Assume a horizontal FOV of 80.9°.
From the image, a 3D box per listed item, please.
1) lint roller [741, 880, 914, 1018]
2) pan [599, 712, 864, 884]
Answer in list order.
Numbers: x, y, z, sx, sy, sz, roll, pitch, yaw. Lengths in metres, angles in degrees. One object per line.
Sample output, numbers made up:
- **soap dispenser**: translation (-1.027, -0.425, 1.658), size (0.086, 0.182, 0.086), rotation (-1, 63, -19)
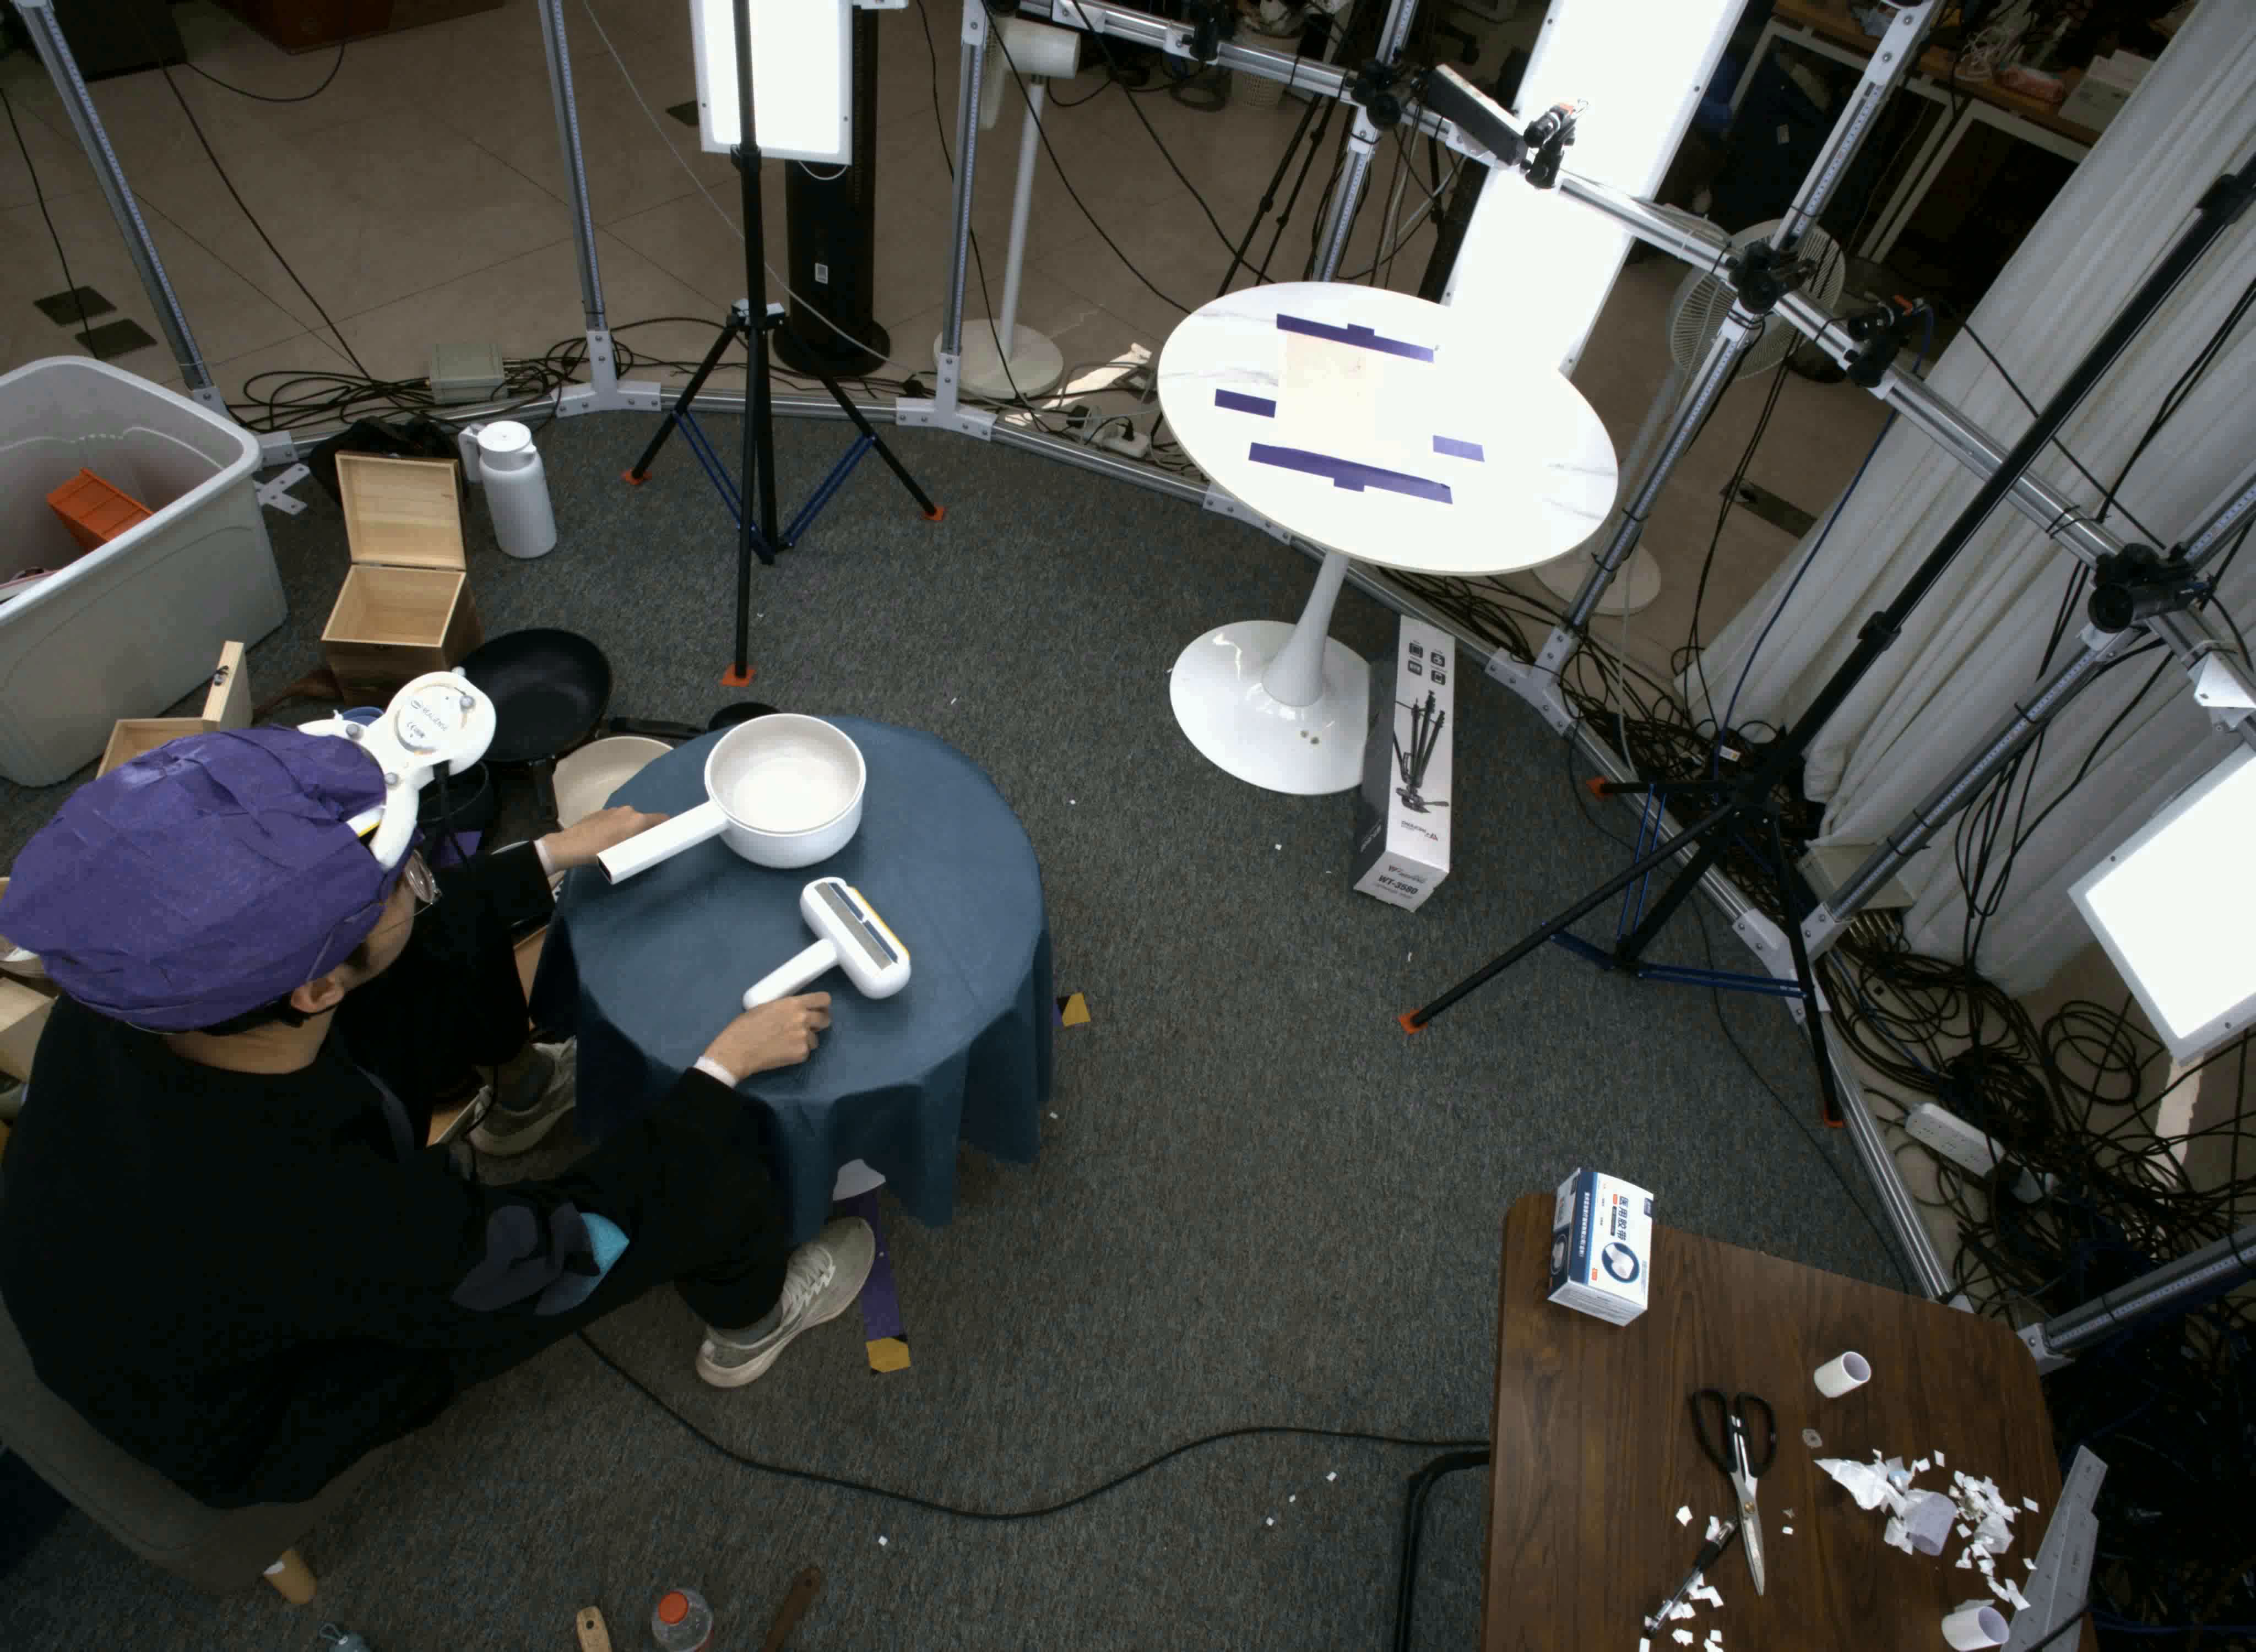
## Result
- **lint roller**: translation (-0.381, 0.166, 1.575), size (0.193, 0.076, 0.187), rotation (-25, 58, -27)
- **pan**: translation (-0.502, -0.008, 1.649), size (0.356, 0.104, 0.197), rotation (-32, 67, -31)
